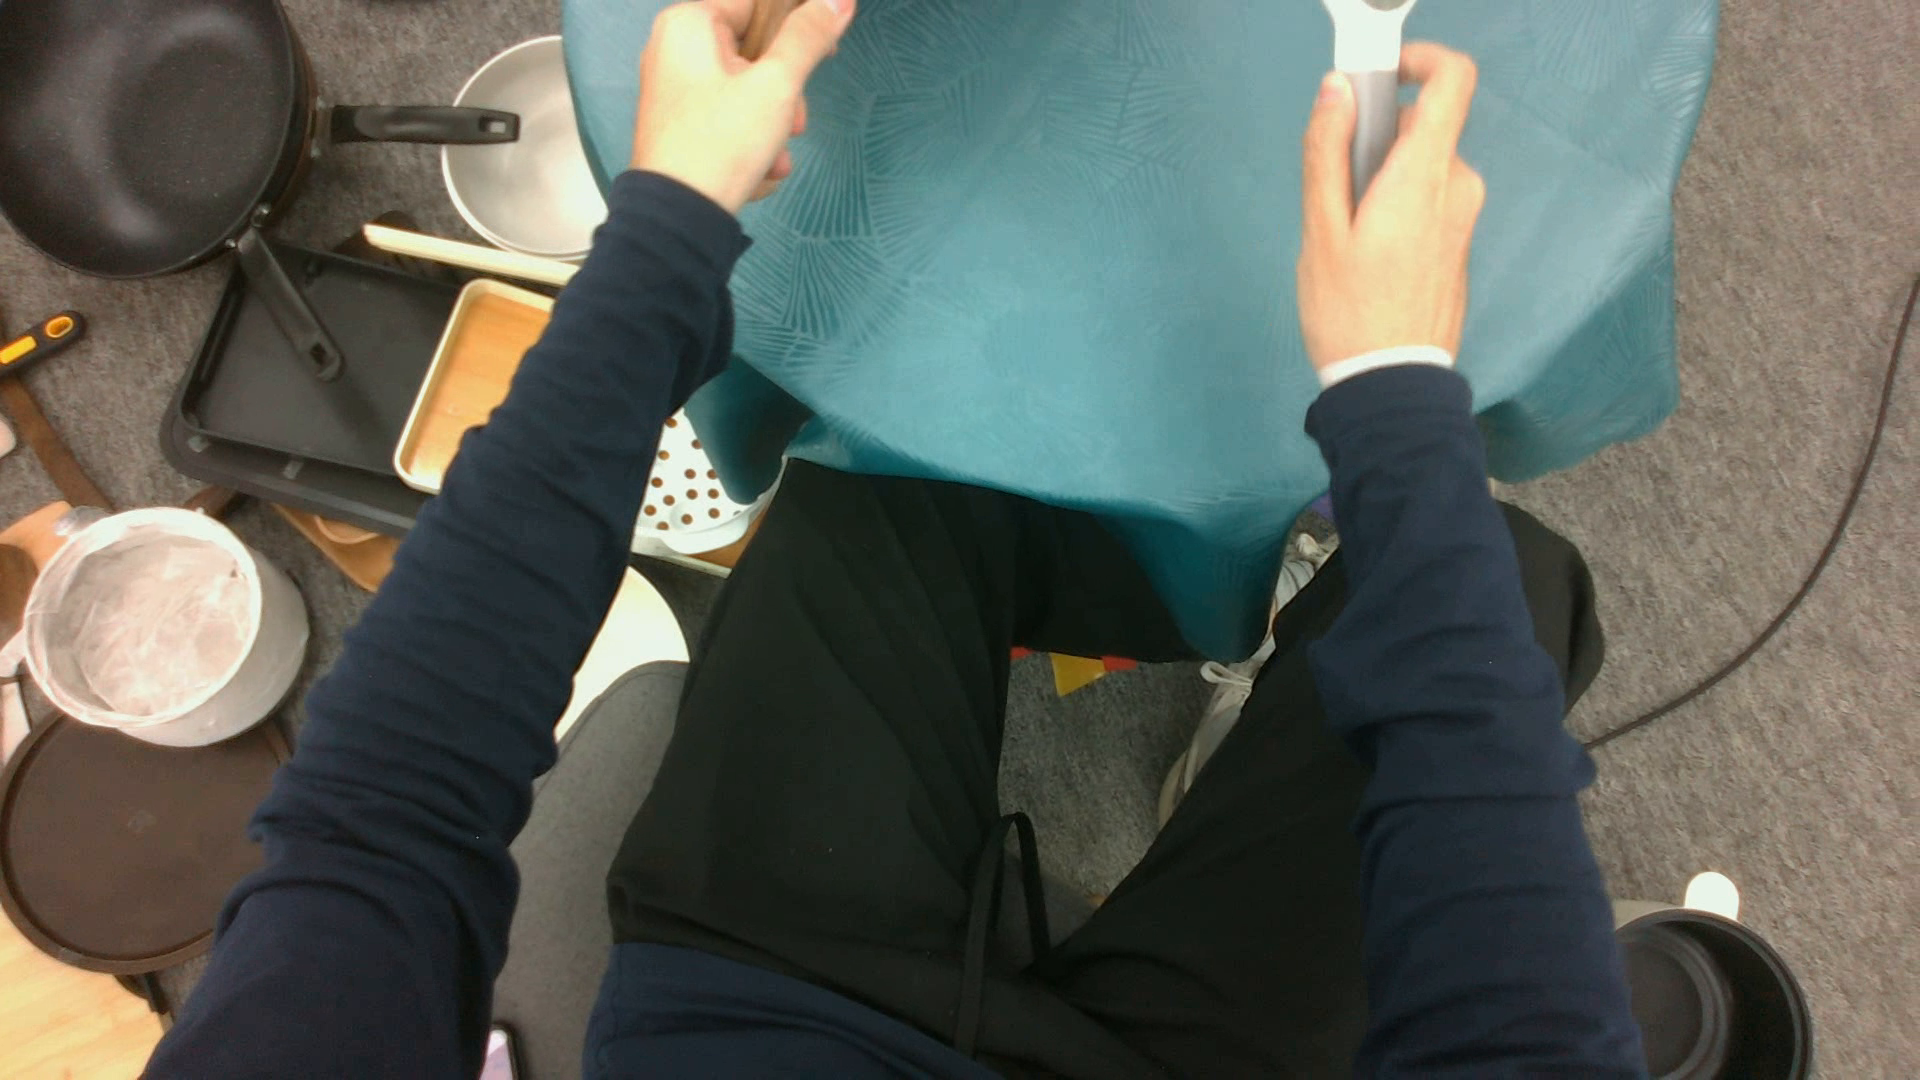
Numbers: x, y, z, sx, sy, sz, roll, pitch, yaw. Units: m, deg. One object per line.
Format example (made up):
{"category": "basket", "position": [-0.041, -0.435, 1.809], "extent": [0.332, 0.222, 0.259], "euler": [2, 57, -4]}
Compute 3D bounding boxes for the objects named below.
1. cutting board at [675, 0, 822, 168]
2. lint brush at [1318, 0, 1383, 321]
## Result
{"category": "cutting board", "position": [-0.048, -0.322, 0.619], "extent": [0.023, 0.200, 0.353], "euler": [30, 72, -39]}
{"category": "lint brush", "position": [0.153, -0.241, 0.541], "extent": [0.060, 0.021, 0.308], "euler": [-15, 107, -40]}
